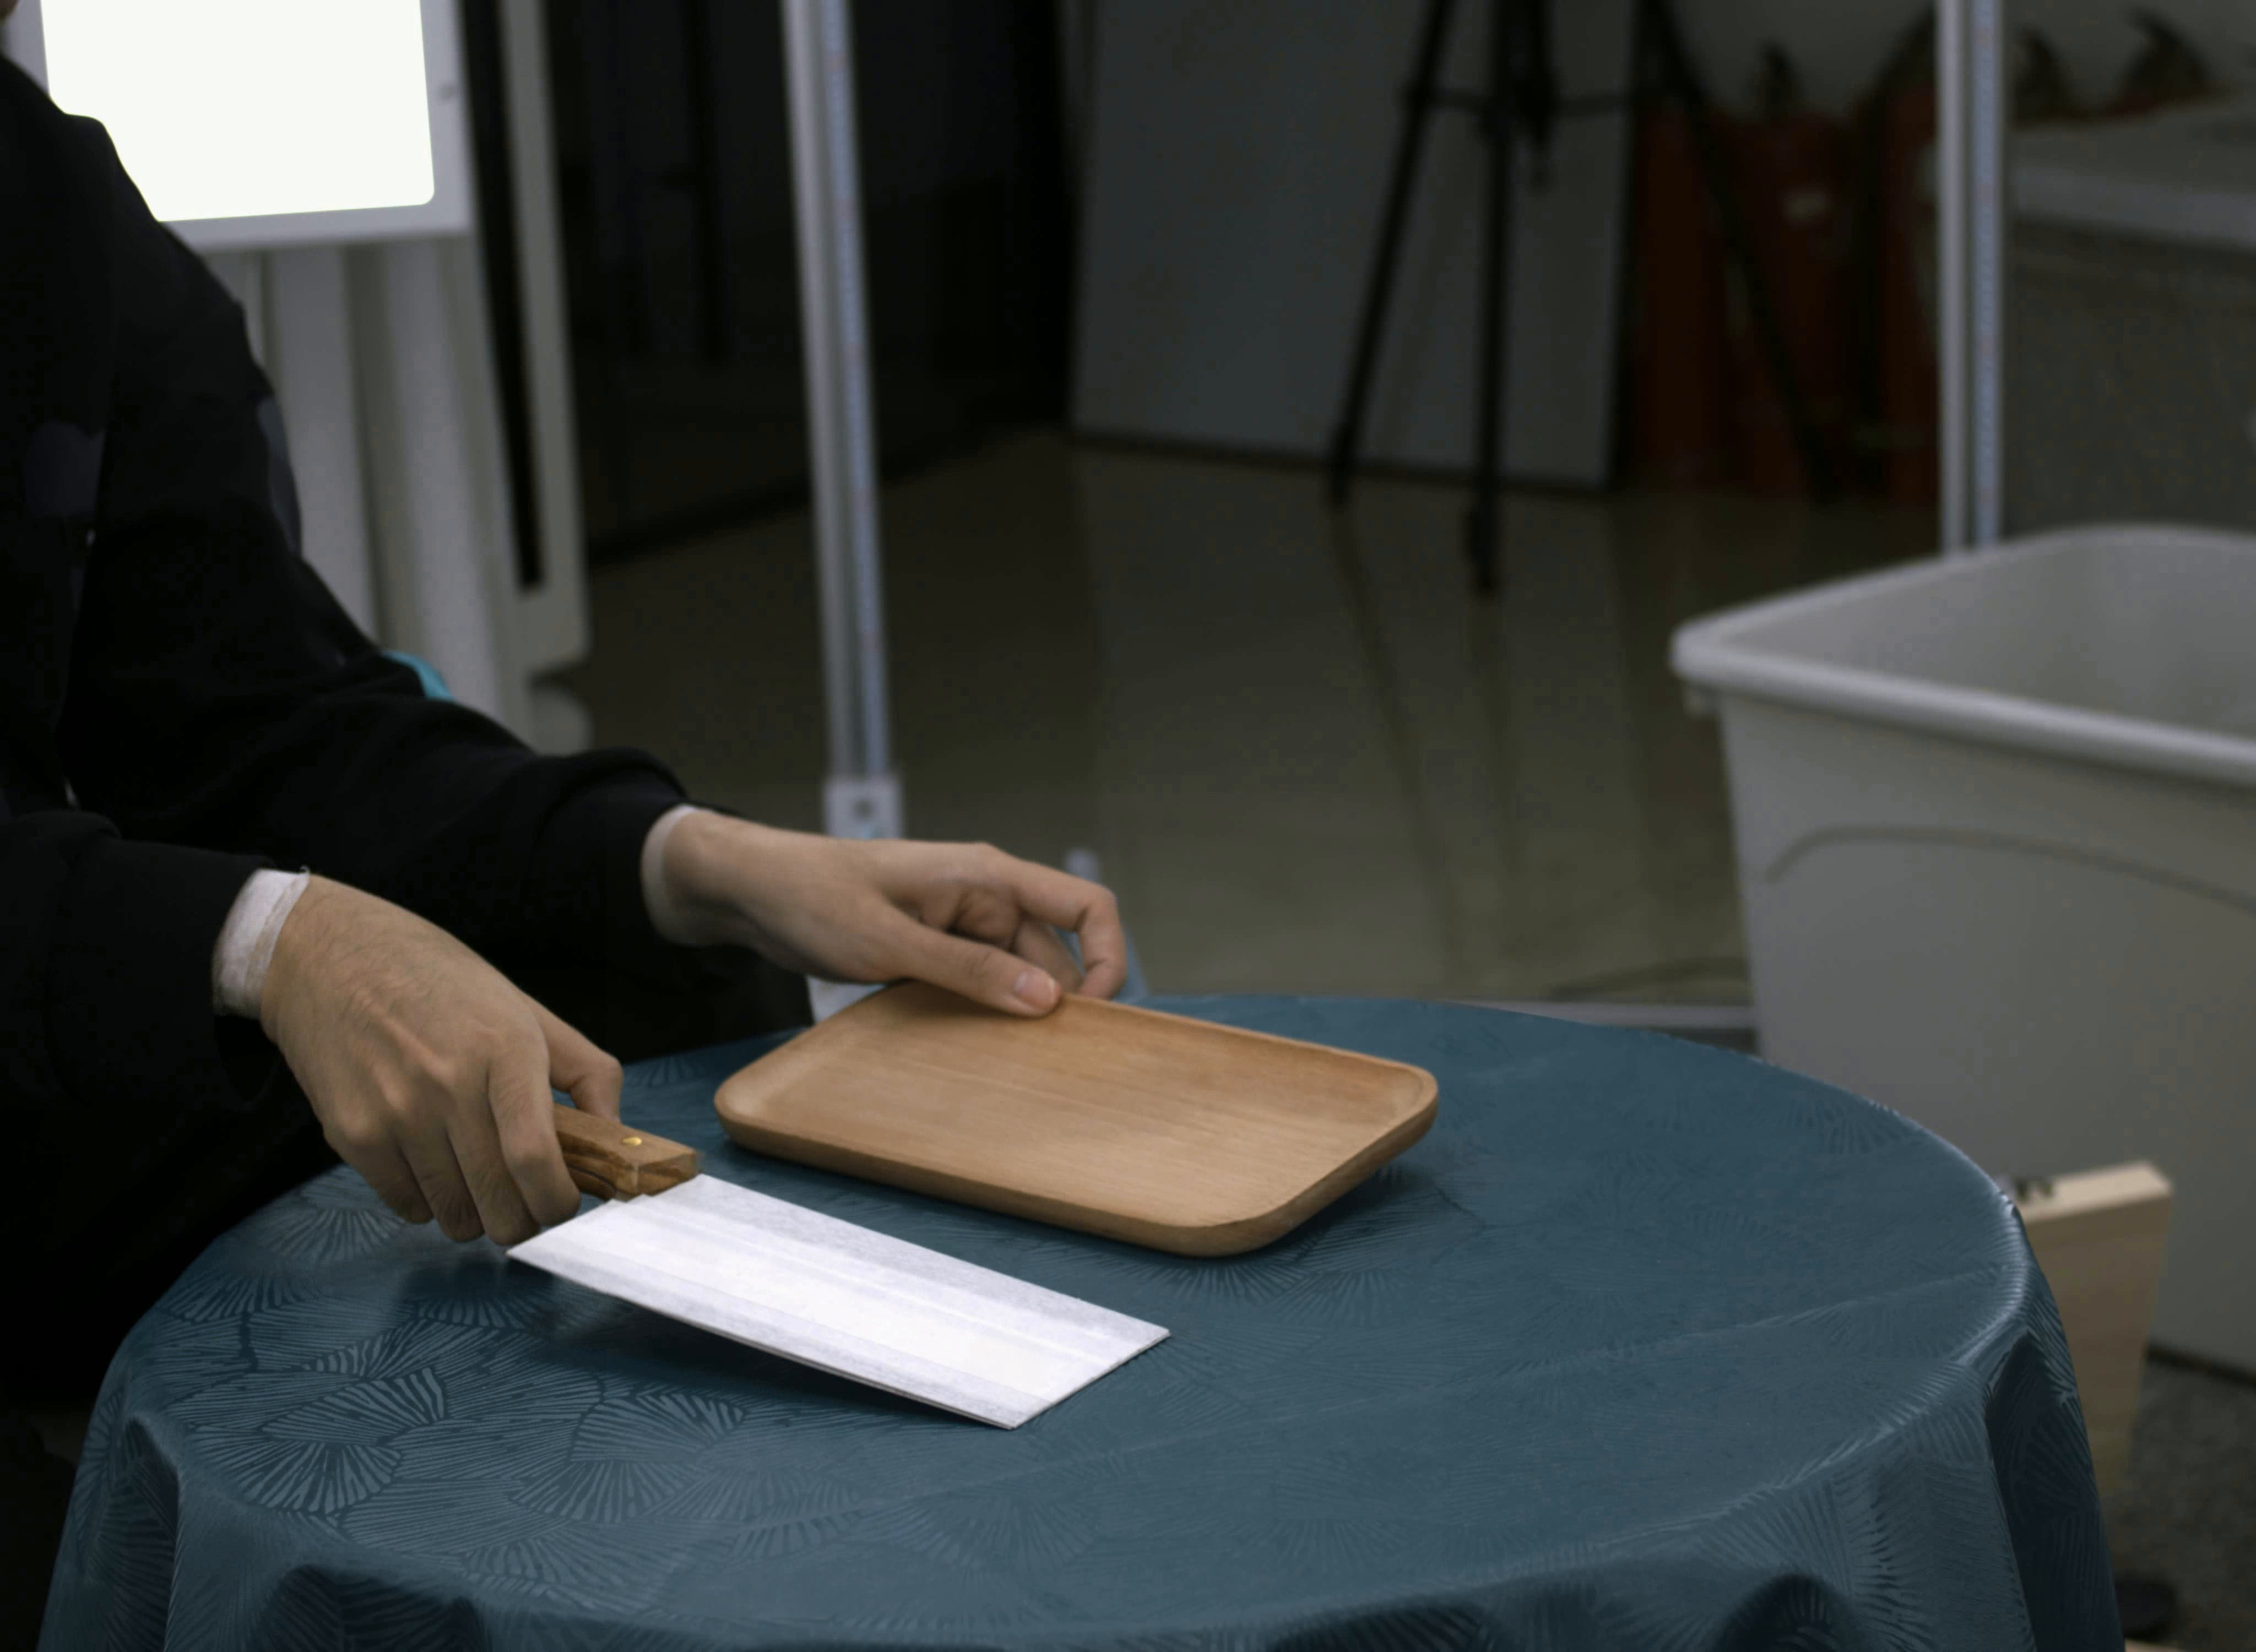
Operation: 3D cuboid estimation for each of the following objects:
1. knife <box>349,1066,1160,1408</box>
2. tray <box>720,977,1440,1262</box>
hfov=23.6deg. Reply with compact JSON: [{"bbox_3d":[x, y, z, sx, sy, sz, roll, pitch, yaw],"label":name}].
[{"bbox_3d":[-0.135,0.129,1.675,0.307,0.021,0.091,15,22,31],"label":"knife"},{"bbox_3d":[-0.018,0.096,1.803,0.253,0.023,0.128,8,27,44],"label":"tray"}]
